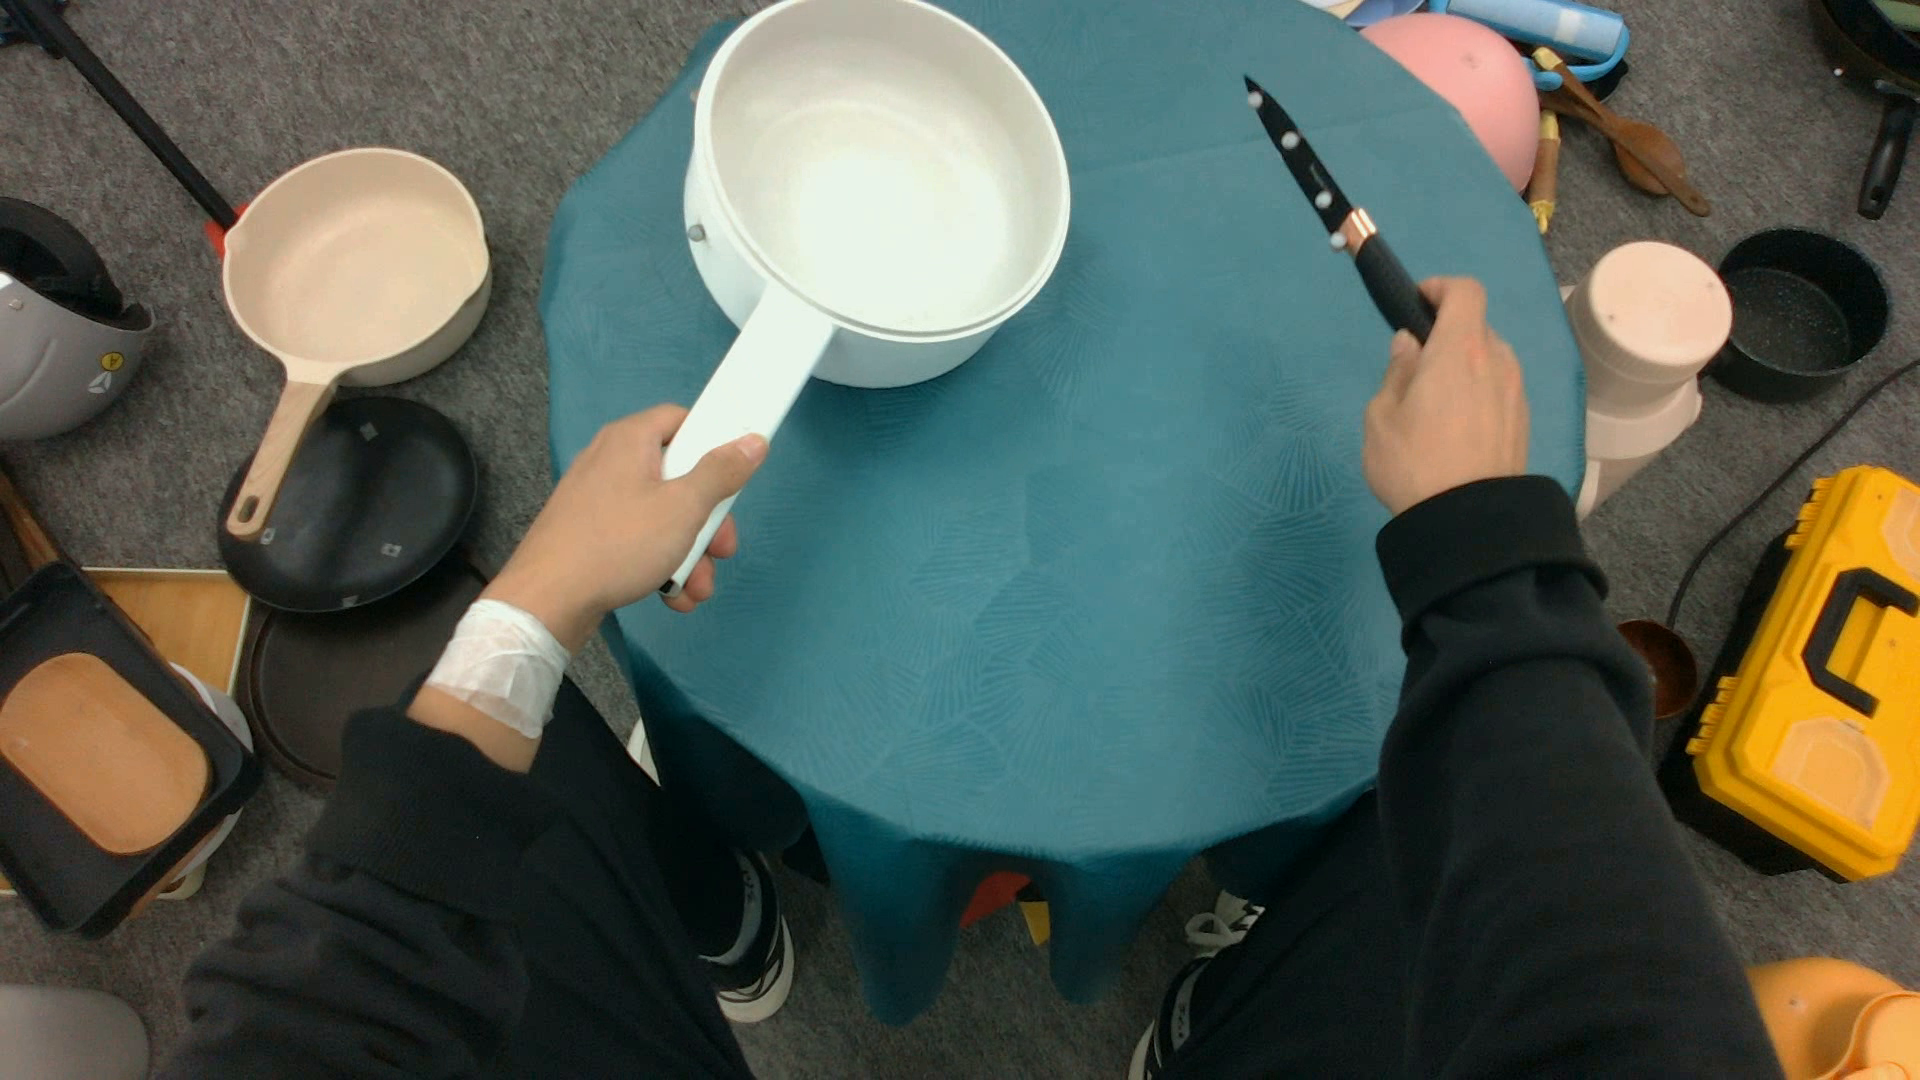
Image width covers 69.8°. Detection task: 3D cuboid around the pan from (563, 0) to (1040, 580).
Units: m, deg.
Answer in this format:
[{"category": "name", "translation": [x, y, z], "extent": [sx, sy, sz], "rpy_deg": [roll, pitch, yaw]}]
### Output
[{"category": "pan", "translation": [-0.097, -0.128, 0.721], "extent": [0.201, 0.101, 0.356], "rpy_deg": [32, 66, -12]}]

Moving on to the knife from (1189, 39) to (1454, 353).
[{"category": "knife", "translation": [0.182, -0.184, 0.709], "extent": [0.017, 0.026, 0.226], "rpy_deg": [-25, 70, -18]}]
